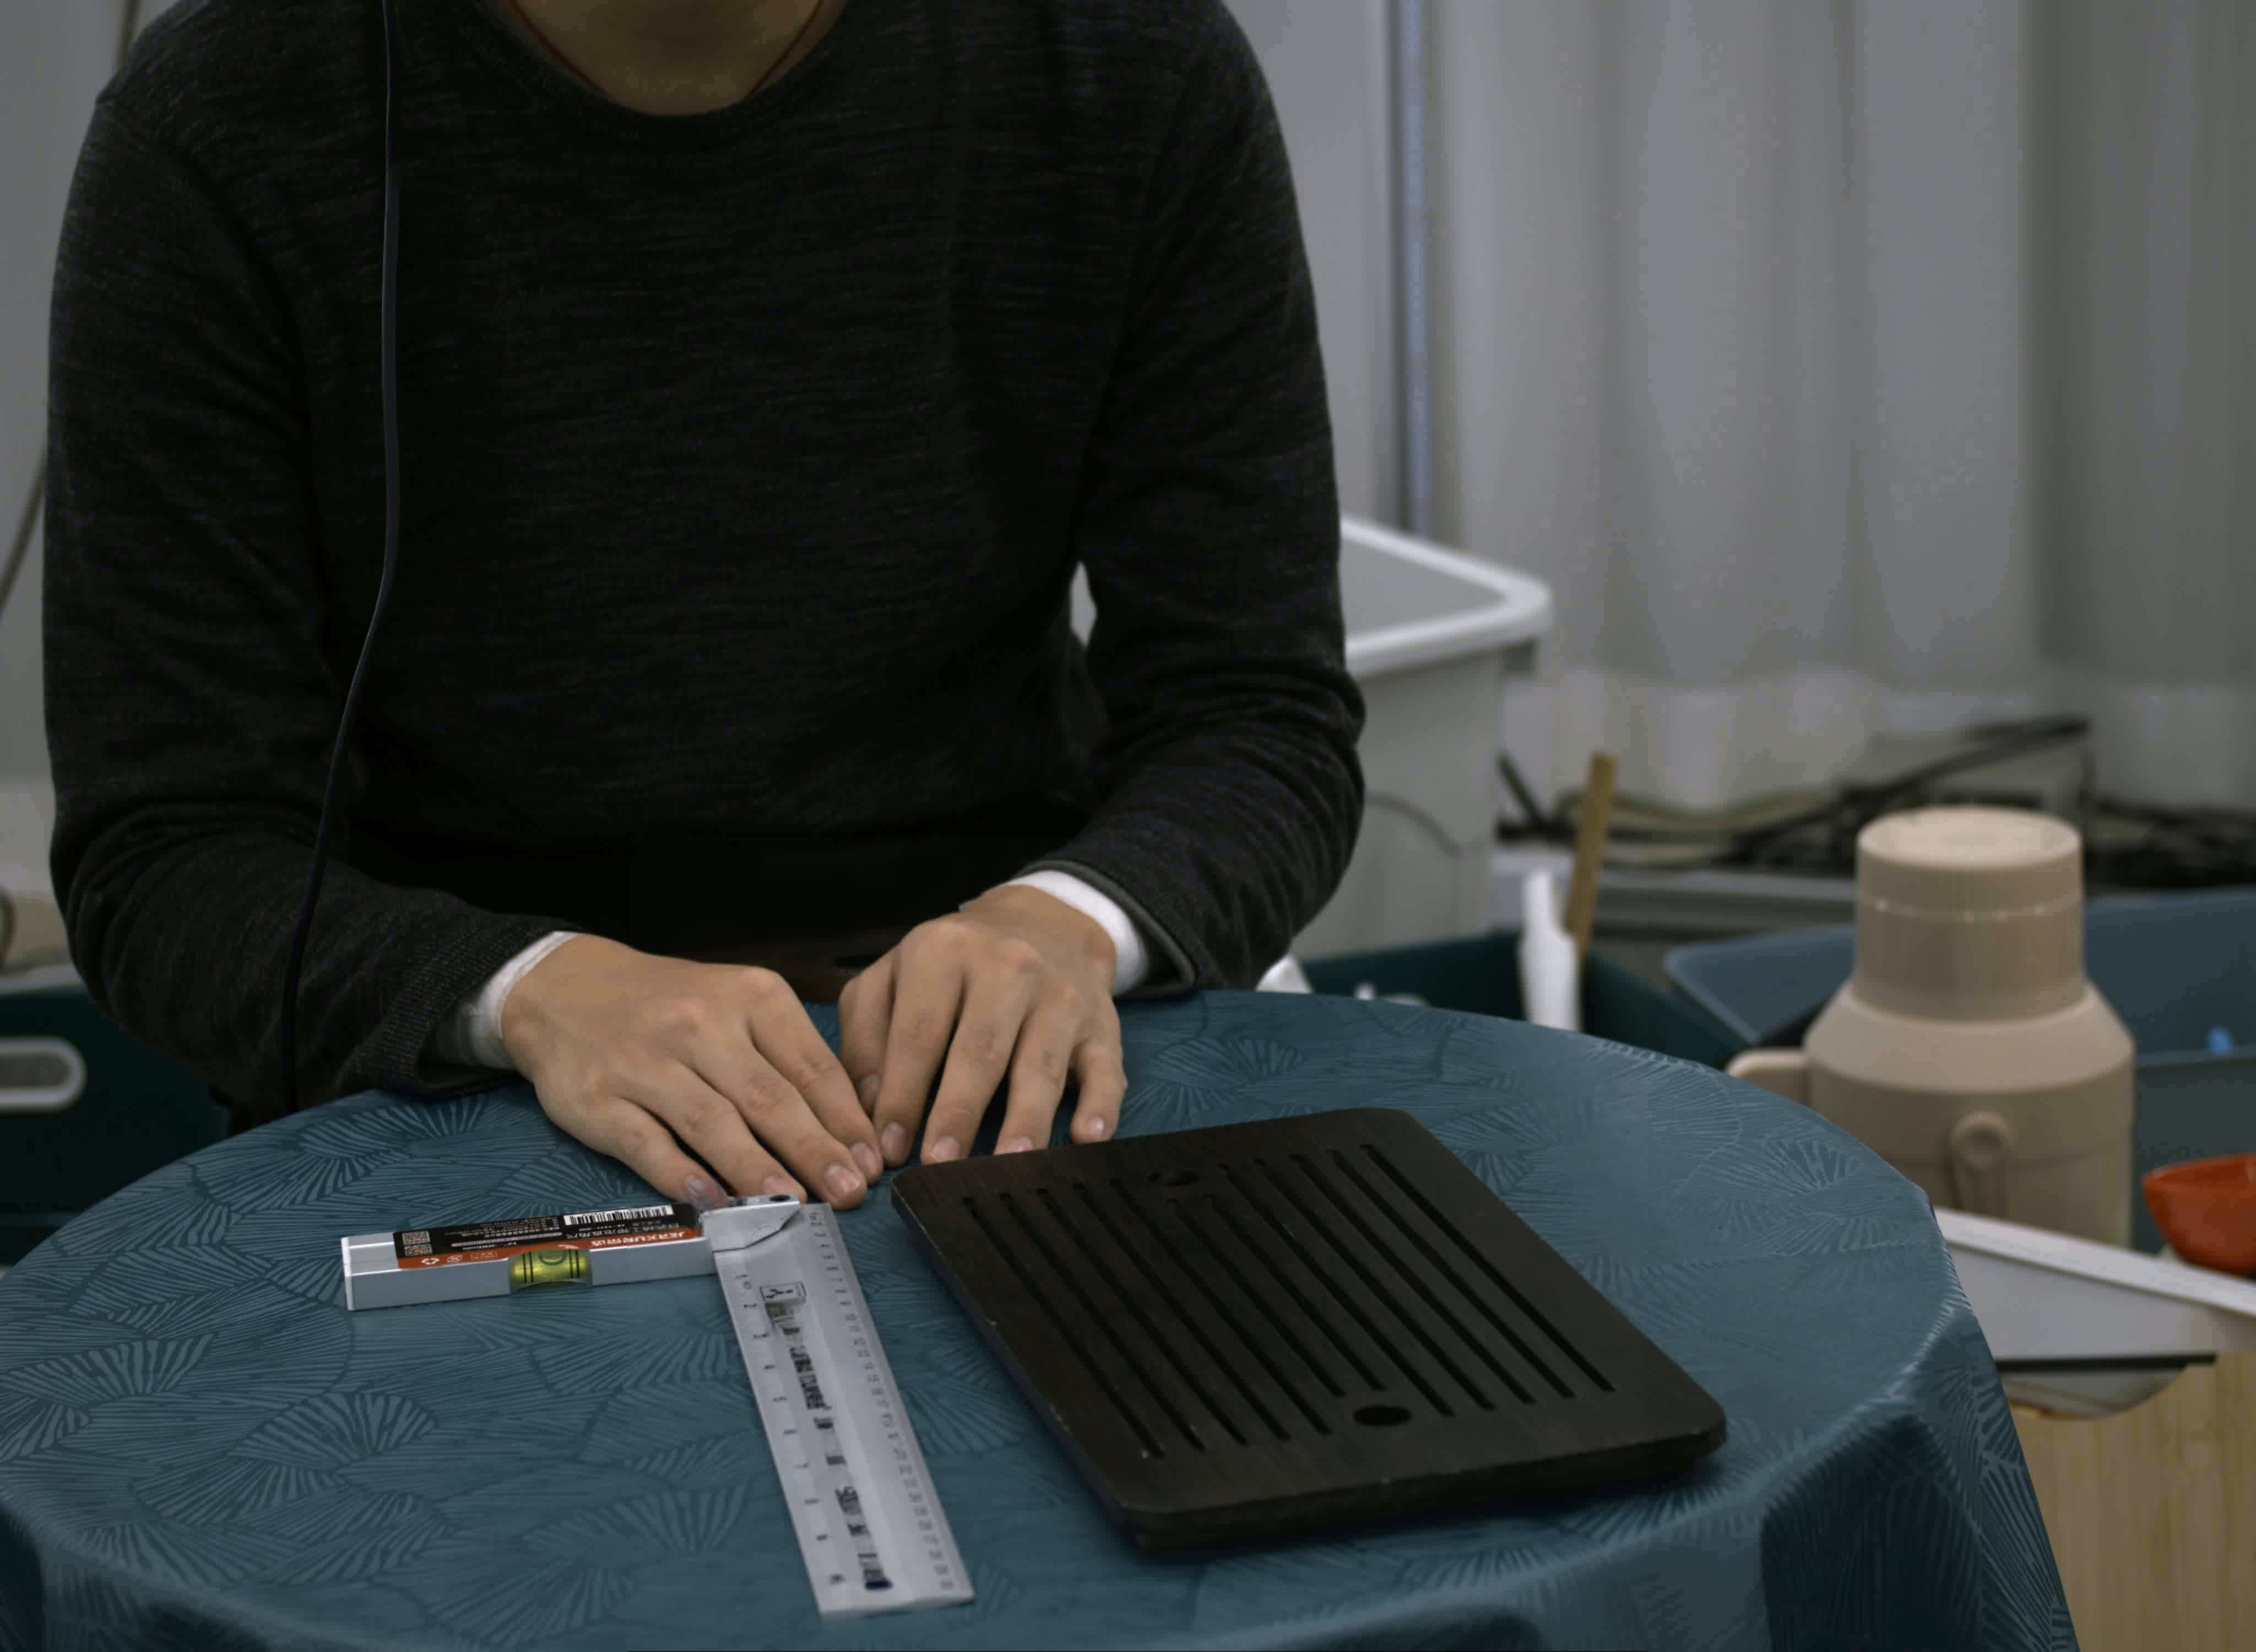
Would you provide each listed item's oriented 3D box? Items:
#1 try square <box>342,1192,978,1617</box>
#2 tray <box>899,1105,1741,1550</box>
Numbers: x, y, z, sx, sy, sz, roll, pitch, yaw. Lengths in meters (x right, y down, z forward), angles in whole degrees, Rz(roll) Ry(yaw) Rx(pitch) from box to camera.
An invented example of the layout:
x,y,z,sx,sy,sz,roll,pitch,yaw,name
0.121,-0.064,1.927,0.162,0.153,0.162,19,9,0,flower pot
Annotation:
x,y,z,sx,sy,sz,roll,pitch,yaw,name
-0.139,0.164,1.538,0.151,0.016,0.315,-5,16,-9,try square
0.047,0.140,1.573,0.169,0.018,0.308,-7,15,-13,tray
